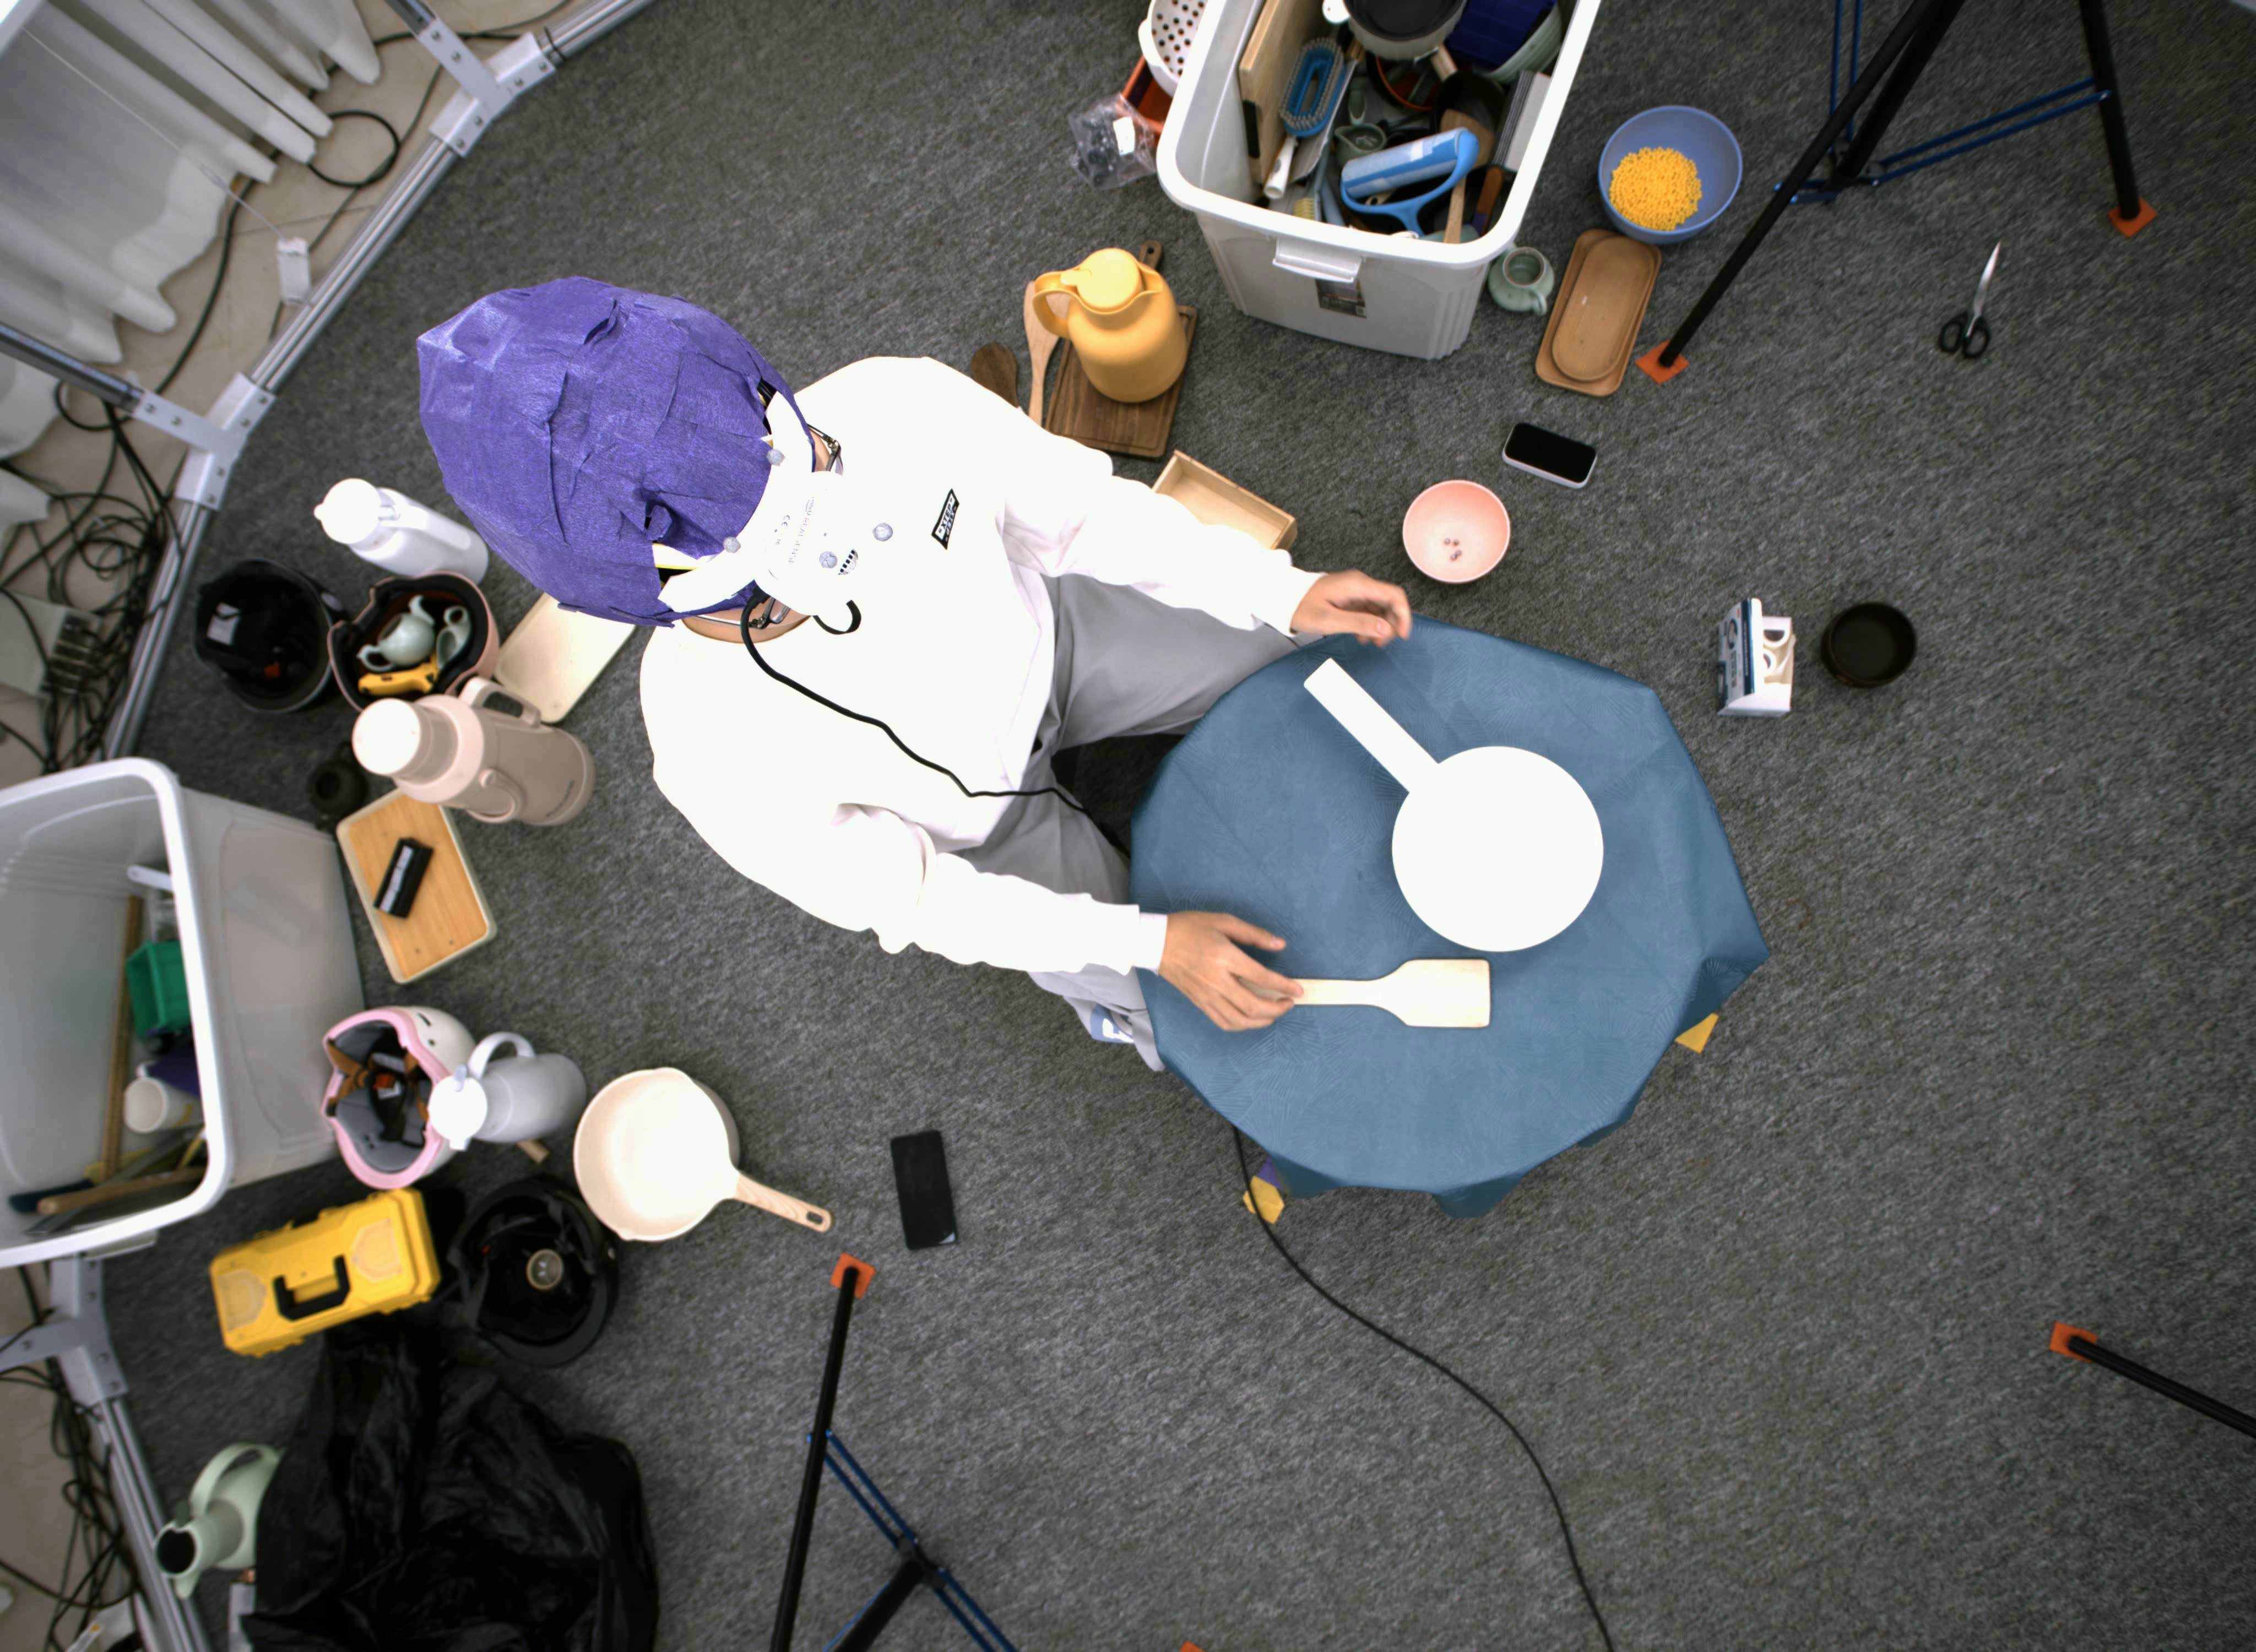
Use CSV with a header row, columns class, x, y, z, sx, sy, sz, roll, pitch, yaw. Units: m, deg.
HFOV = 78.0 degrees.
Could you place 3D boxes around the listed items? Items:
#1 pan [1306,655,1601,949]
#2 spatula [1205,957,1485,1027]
class,x,y,z,sx,sy,sz,roll,pitch,yaw
pan,0.318,-0.031,1.408,0.202,0.102,0.353,-44,79,6
spatula,0.227,0.172,1.457,0.294,0.010,0.072,-1,88,11
